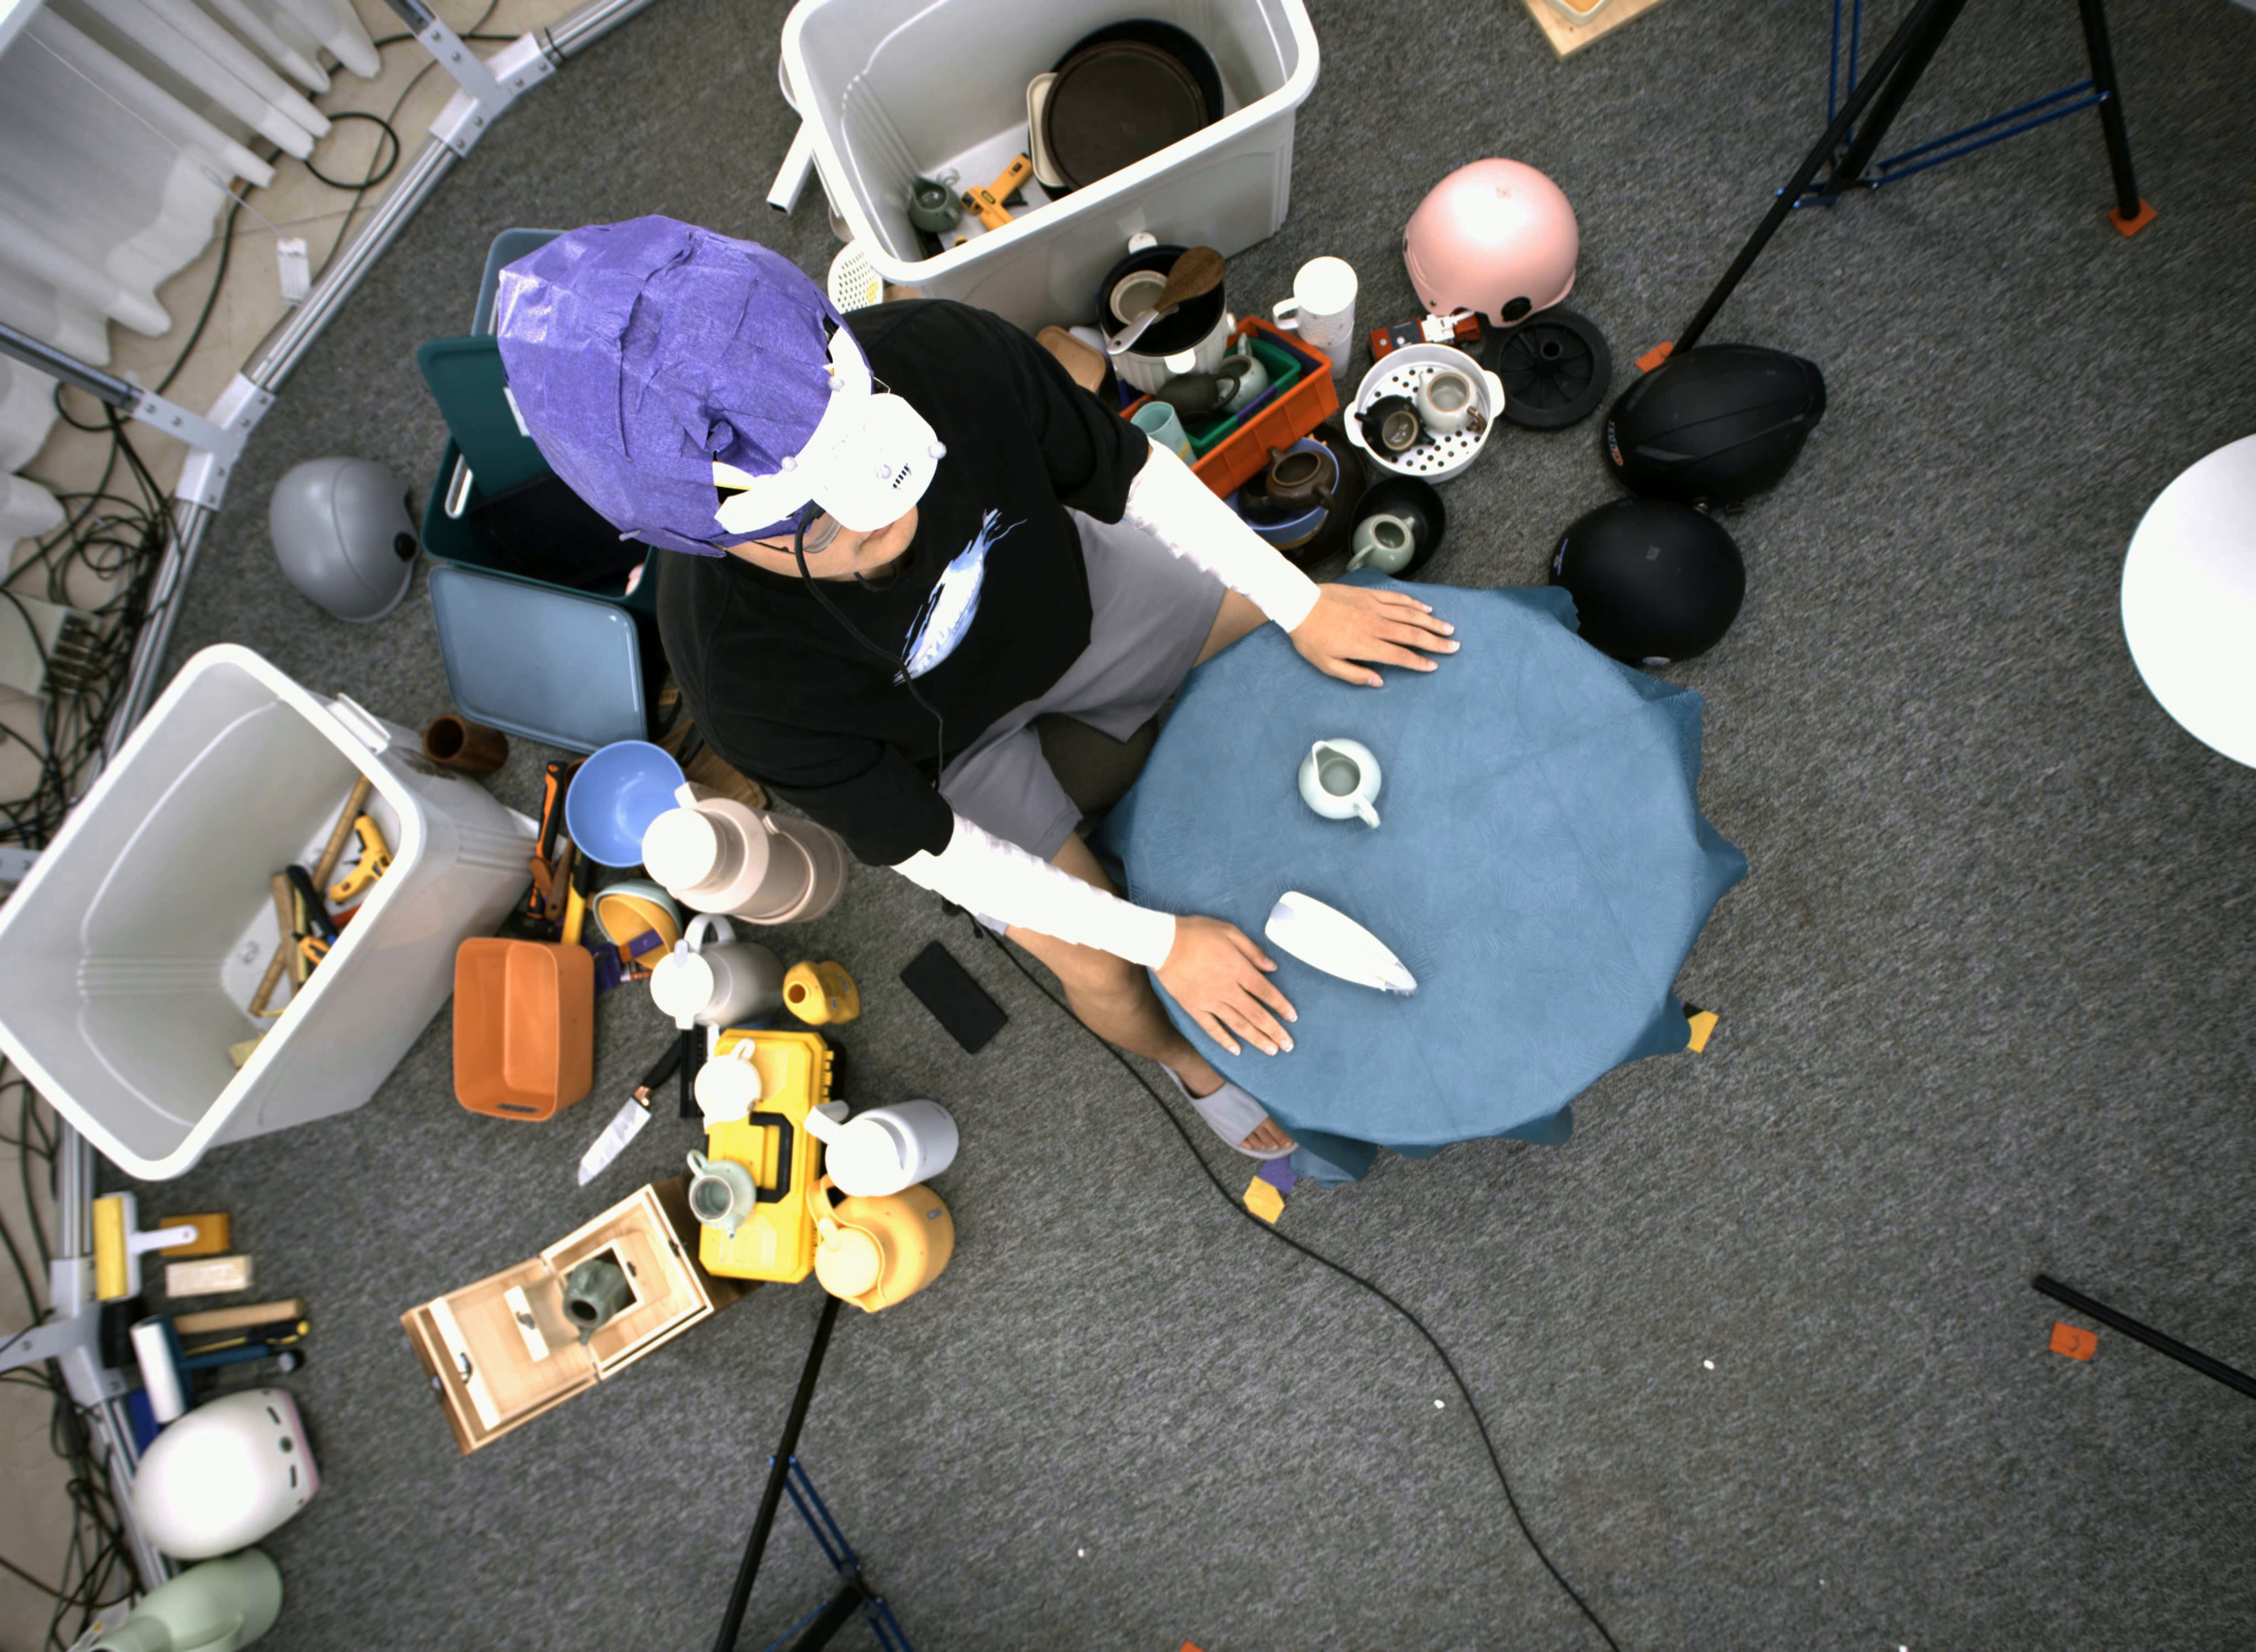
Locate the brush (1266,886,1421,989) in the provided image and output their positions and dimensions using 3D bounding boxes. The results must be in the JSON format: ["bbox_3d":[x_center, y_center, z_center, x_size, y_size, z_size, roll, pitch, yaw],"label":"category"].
[{"bbox_3d":[0.223,0.122,1.419,0.175,0.094,0.061,29,94,9],"label":"brush"}]

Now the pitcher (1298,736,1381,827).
[{"bbox_3d":[0.229,-0.045,1.444,0.086,0.060,0.107,-40,83,6],"label":"pitcher"}]
